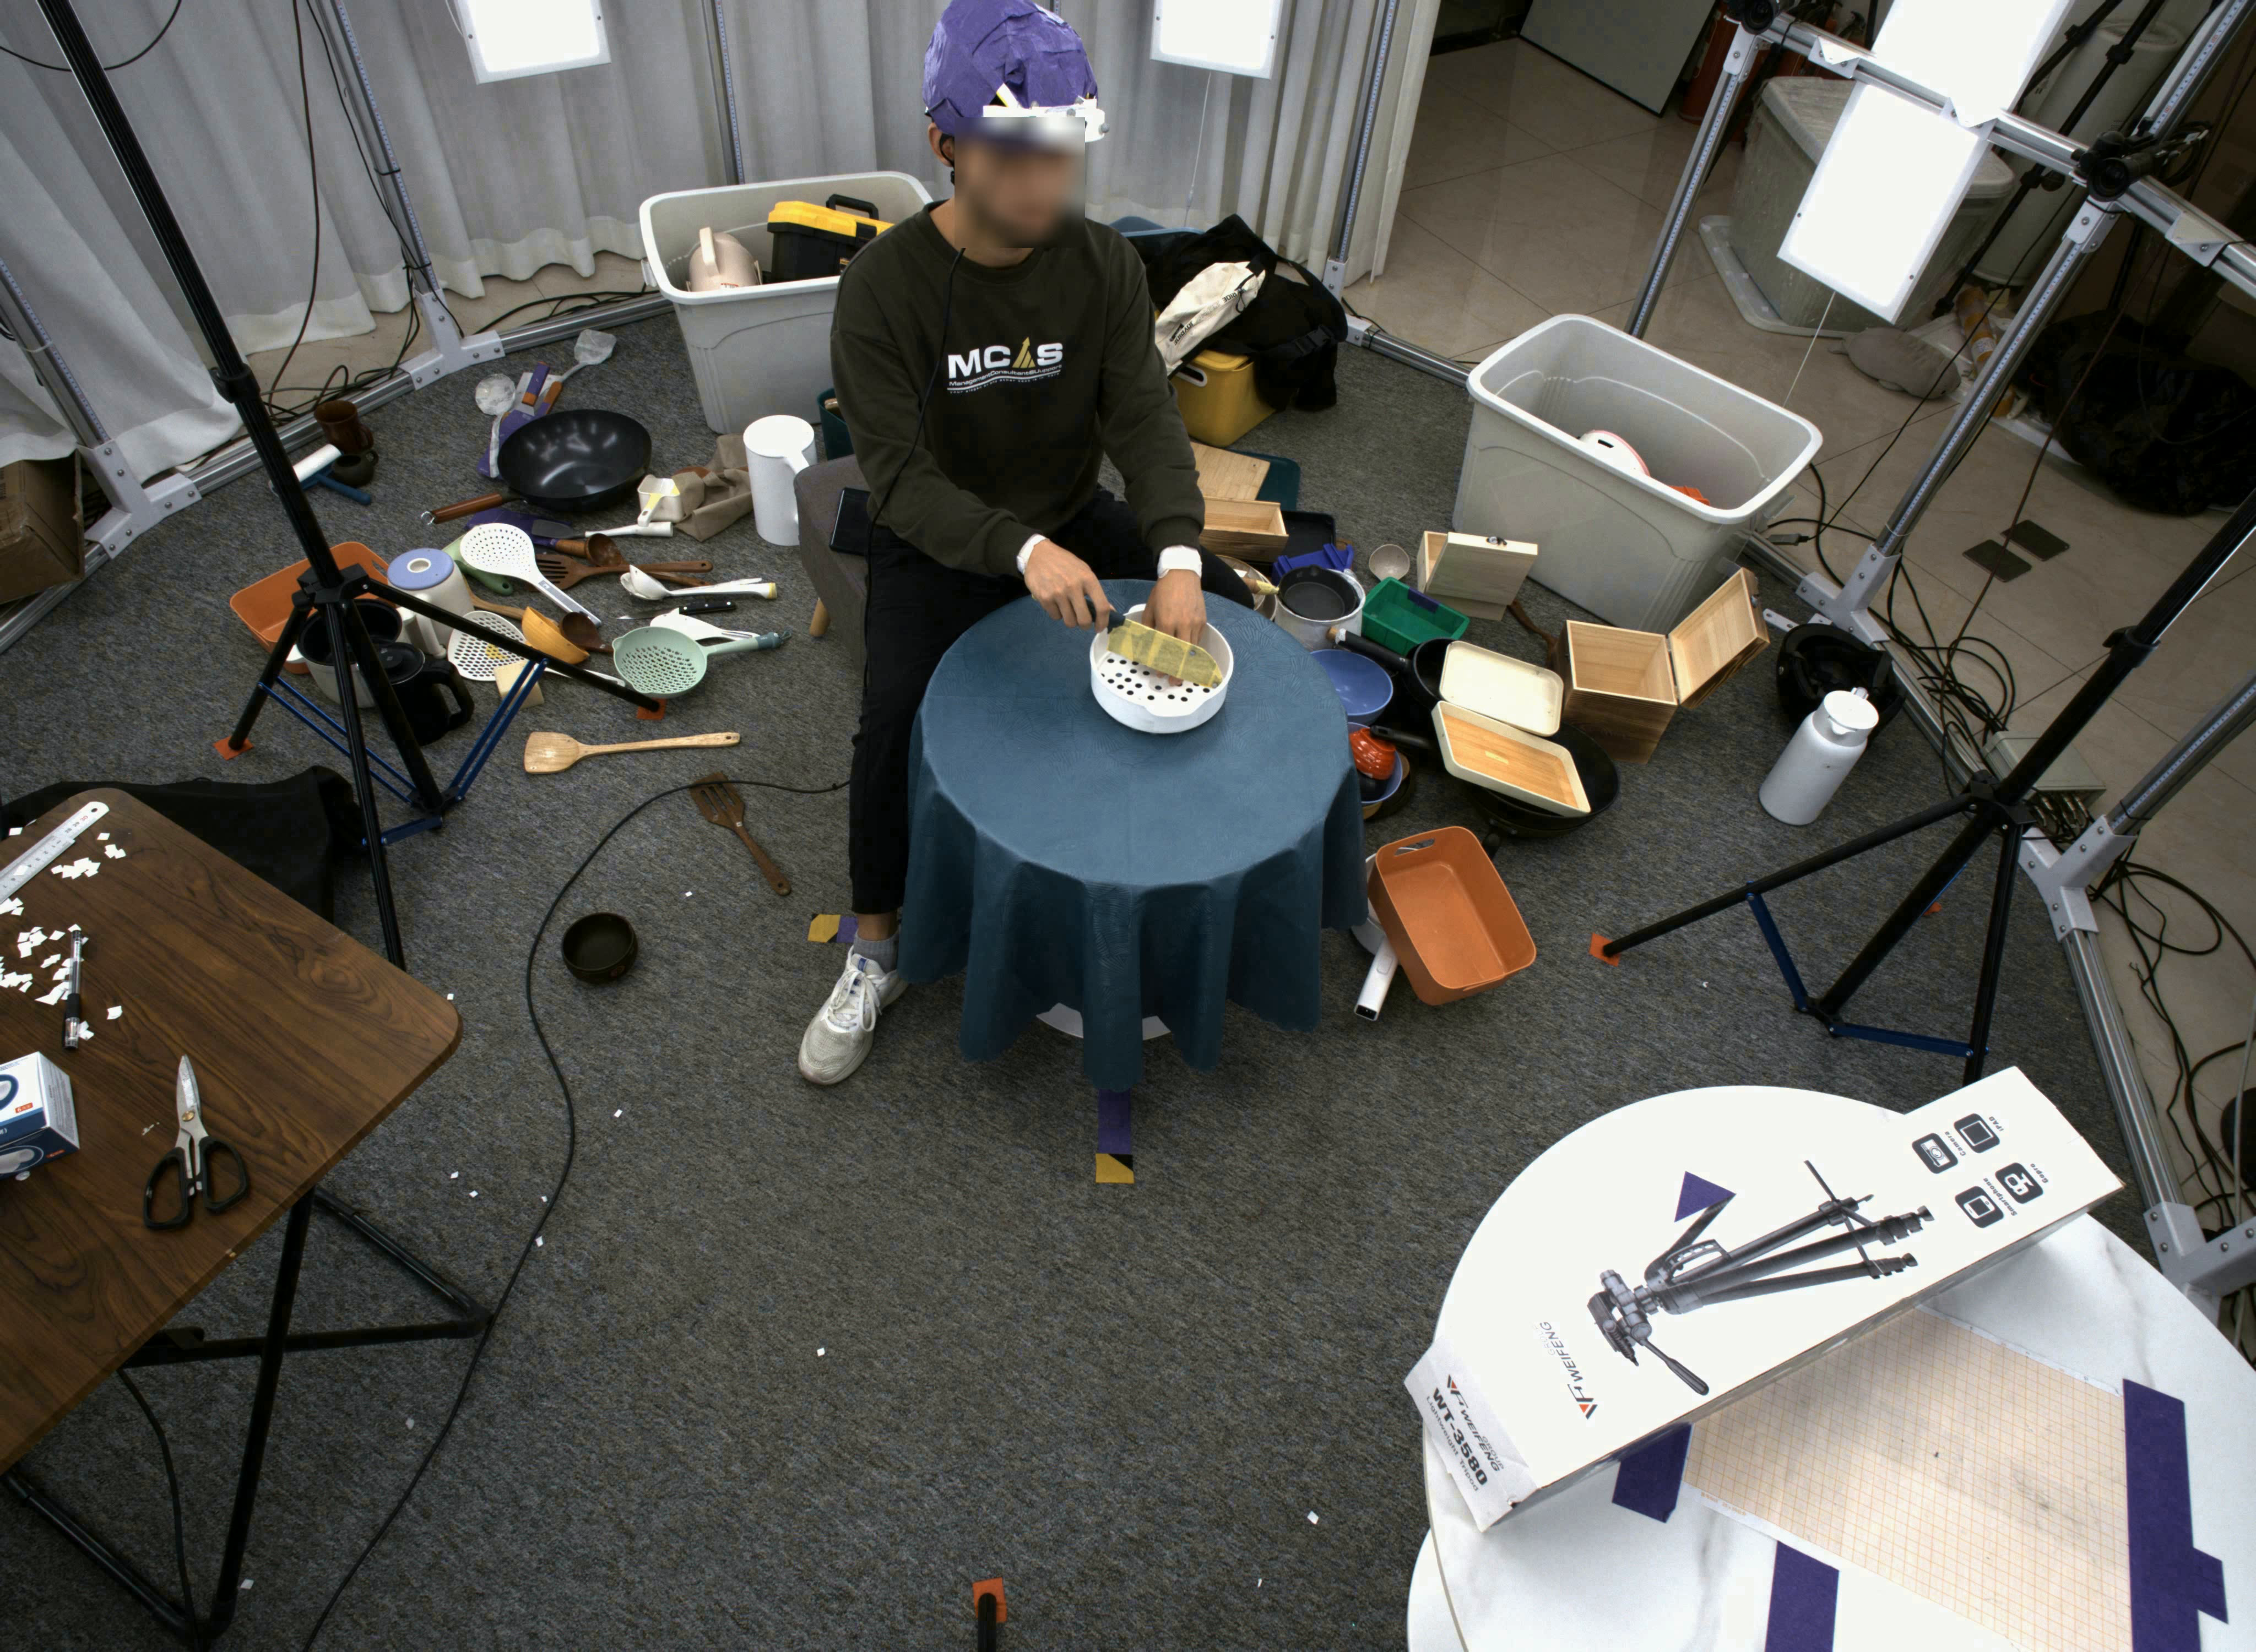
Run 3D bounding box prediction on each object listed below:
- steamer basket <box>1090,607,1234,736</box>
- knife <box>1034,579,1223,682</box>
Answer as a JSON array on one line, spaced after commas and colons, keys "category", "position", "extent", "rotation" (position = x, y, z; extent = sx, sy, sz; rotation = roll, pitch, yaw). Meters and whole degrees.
[{"category": "steamer basket", "position": [0.046, -0.215, 1.813], "extent": [0.201, 0.067, 0.236], "rotation": [-2, 48, -7]}, {"category": "knife", "position": [0.002, -0.264, 1.765], "extent": [0.289, 0.080, 0.027], "rotation": [26, 66, -4]}]
